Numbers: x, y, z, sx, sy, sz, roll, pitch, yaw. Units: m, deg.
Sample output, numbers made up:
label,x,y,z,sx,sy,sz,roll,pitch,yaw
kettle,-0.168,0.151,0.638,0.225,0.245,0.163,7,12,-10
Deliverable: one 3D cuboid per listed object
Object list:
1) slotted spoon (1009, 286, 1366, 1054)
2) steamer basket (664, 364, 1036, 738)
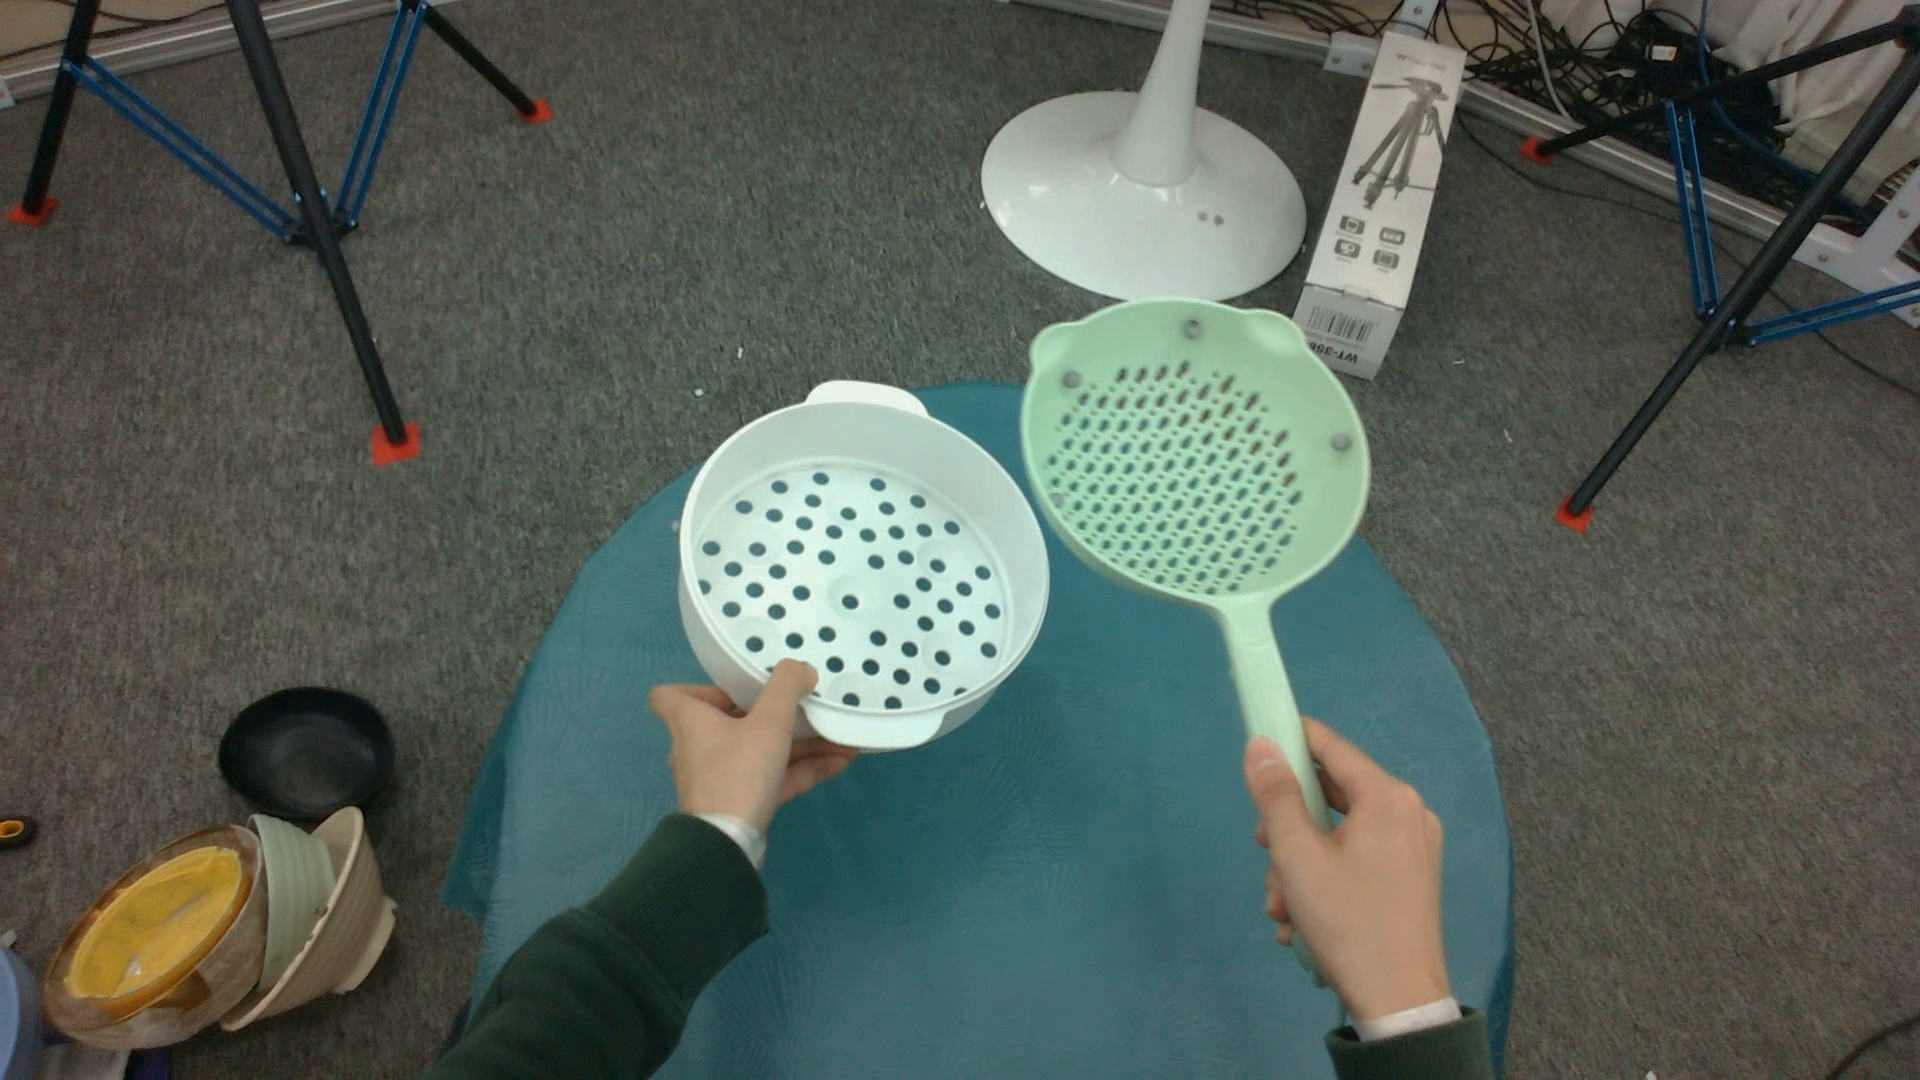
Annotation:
label,x,y,z,sx,sy,sz,roll,pitch,yaw
slotted spoon,0.123,0.039,0.621,0.169,0.075,0.360,-6,56,-12
steamer basket,-0.063,0.011,0.760,0.202,0.069,0.231,4,57,-15
